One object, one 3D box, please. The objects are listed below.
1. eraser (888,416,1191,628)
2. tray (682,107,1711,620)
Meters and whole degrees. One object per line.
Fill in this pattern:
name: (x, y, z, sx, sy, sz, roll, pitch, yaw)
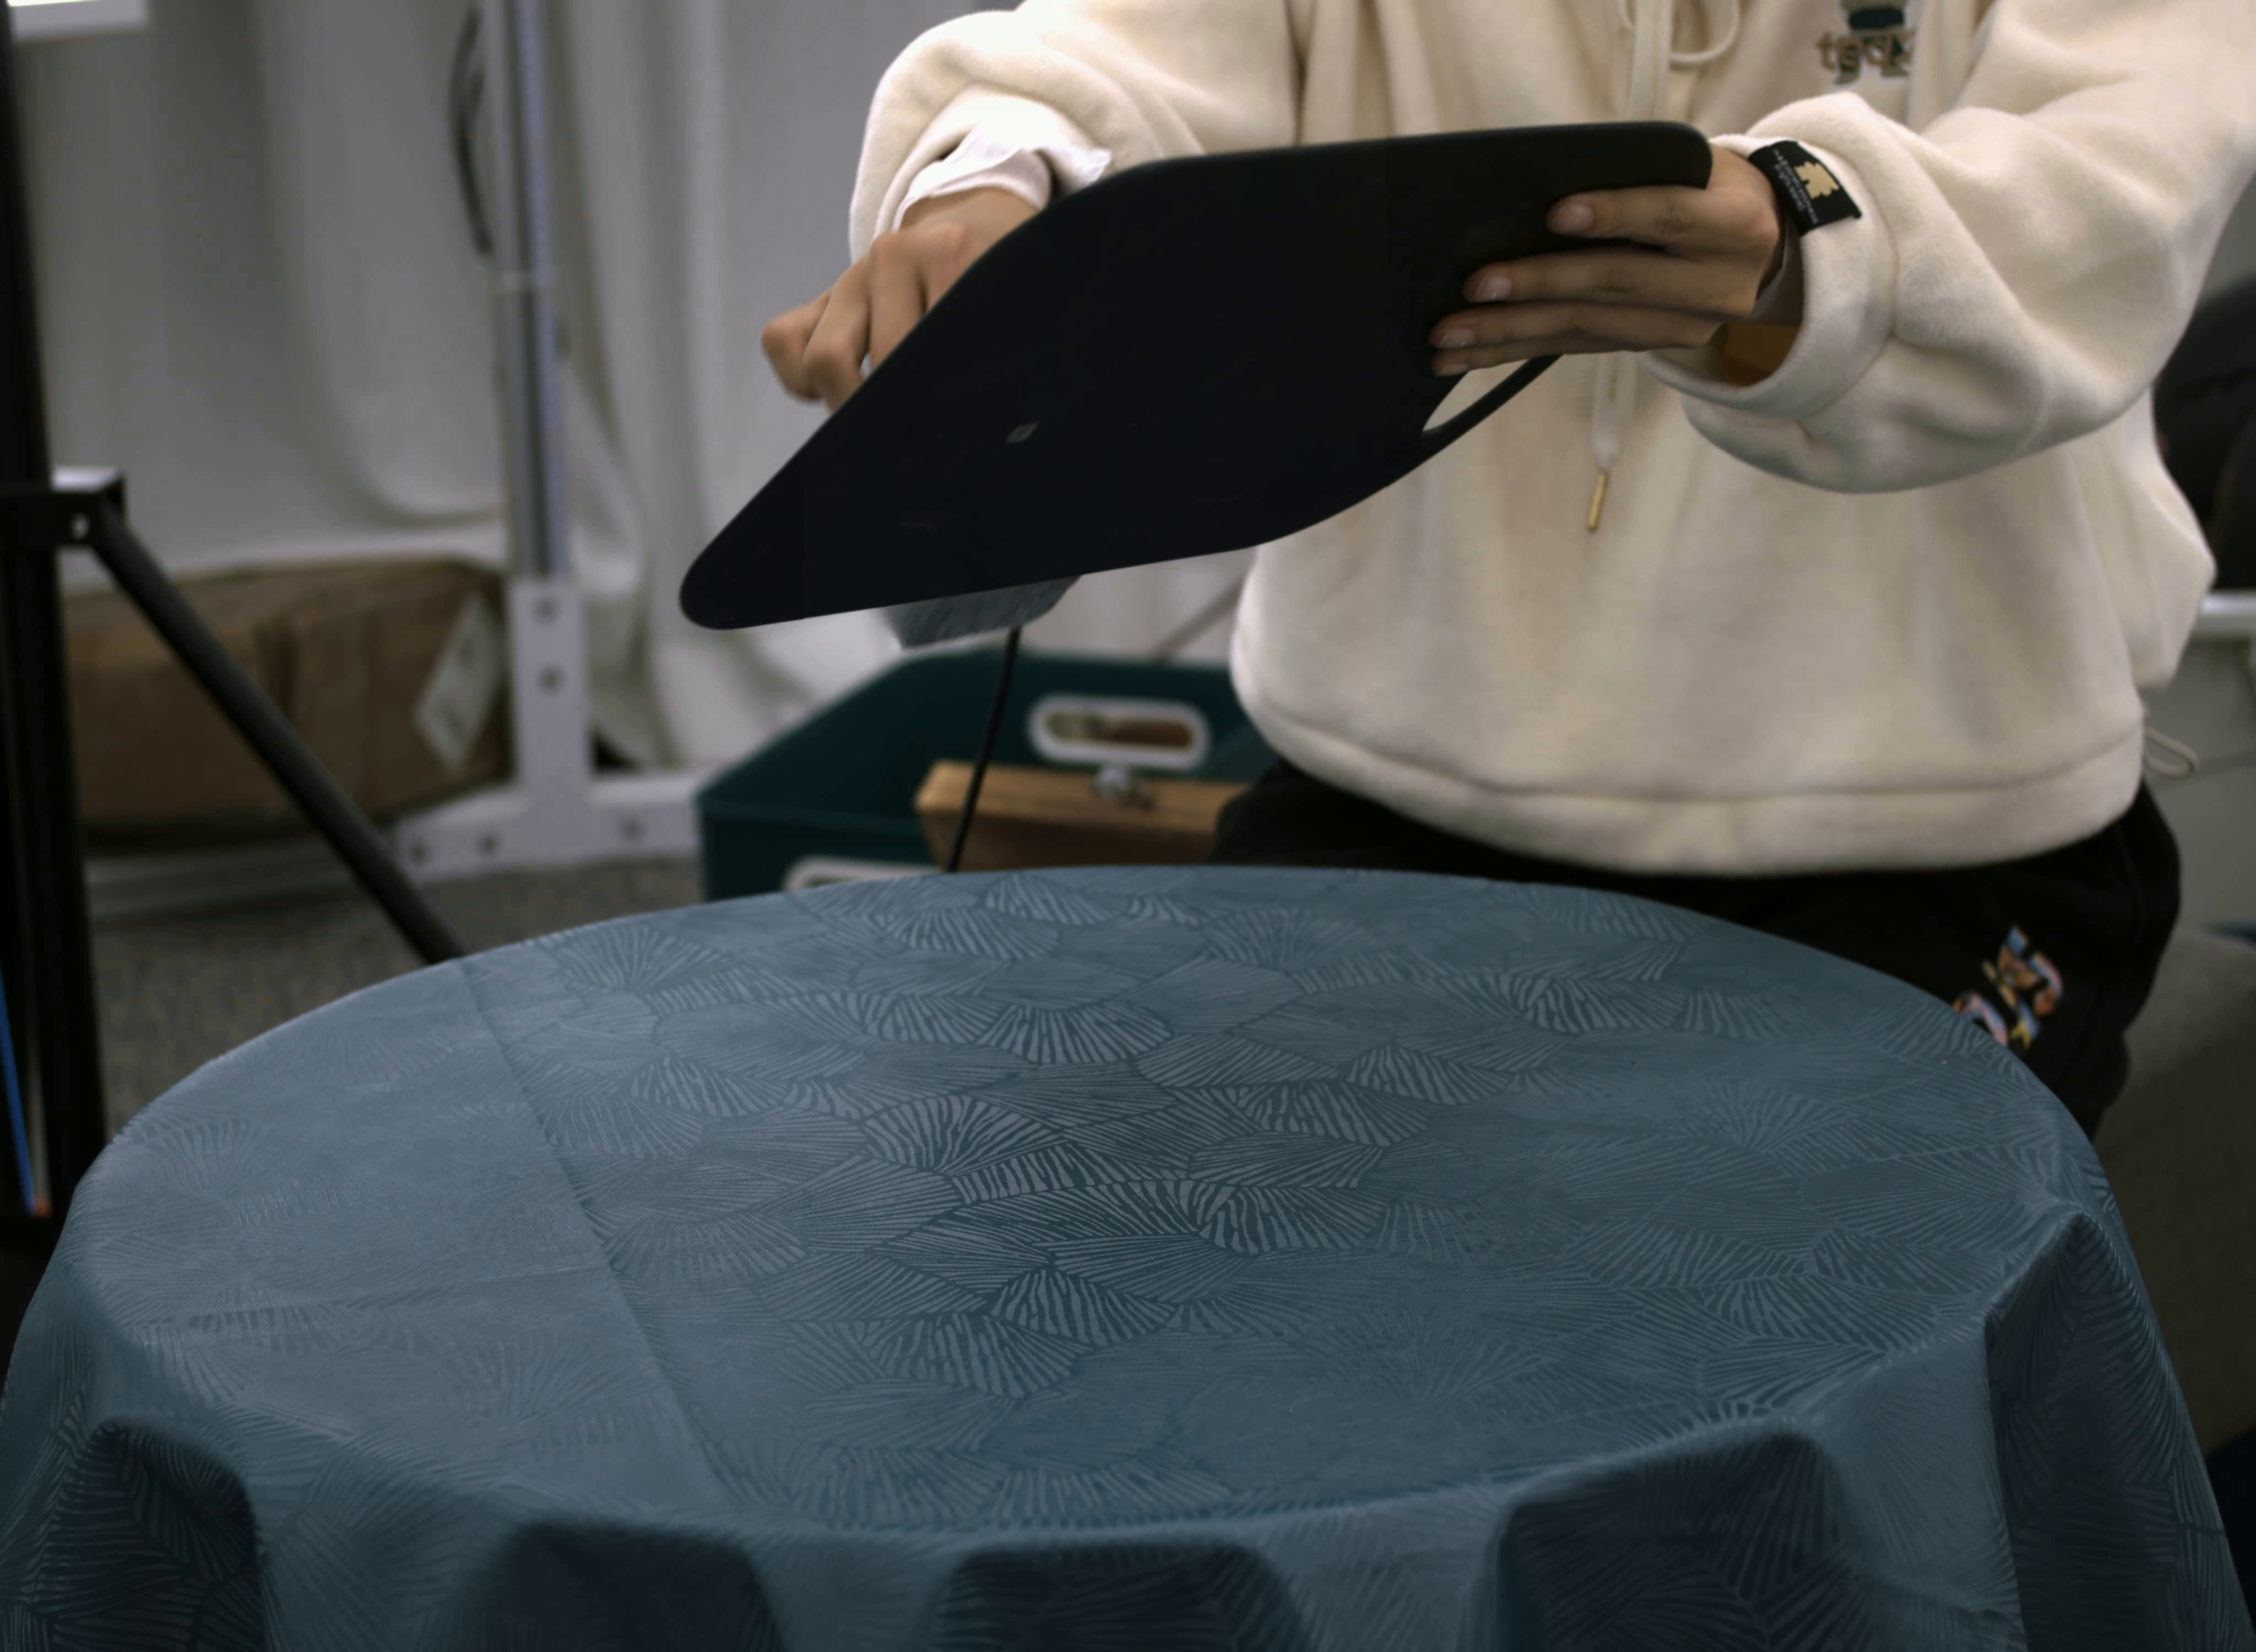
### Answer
eraser: (-0.028, -0.095, 1.551, 0.057, 0.023, 0.109, -9, -24, -33)
tray: (0.029, -0.130, 1.497, 0.317, 0.010, 0.213, -12, -24, -46)
